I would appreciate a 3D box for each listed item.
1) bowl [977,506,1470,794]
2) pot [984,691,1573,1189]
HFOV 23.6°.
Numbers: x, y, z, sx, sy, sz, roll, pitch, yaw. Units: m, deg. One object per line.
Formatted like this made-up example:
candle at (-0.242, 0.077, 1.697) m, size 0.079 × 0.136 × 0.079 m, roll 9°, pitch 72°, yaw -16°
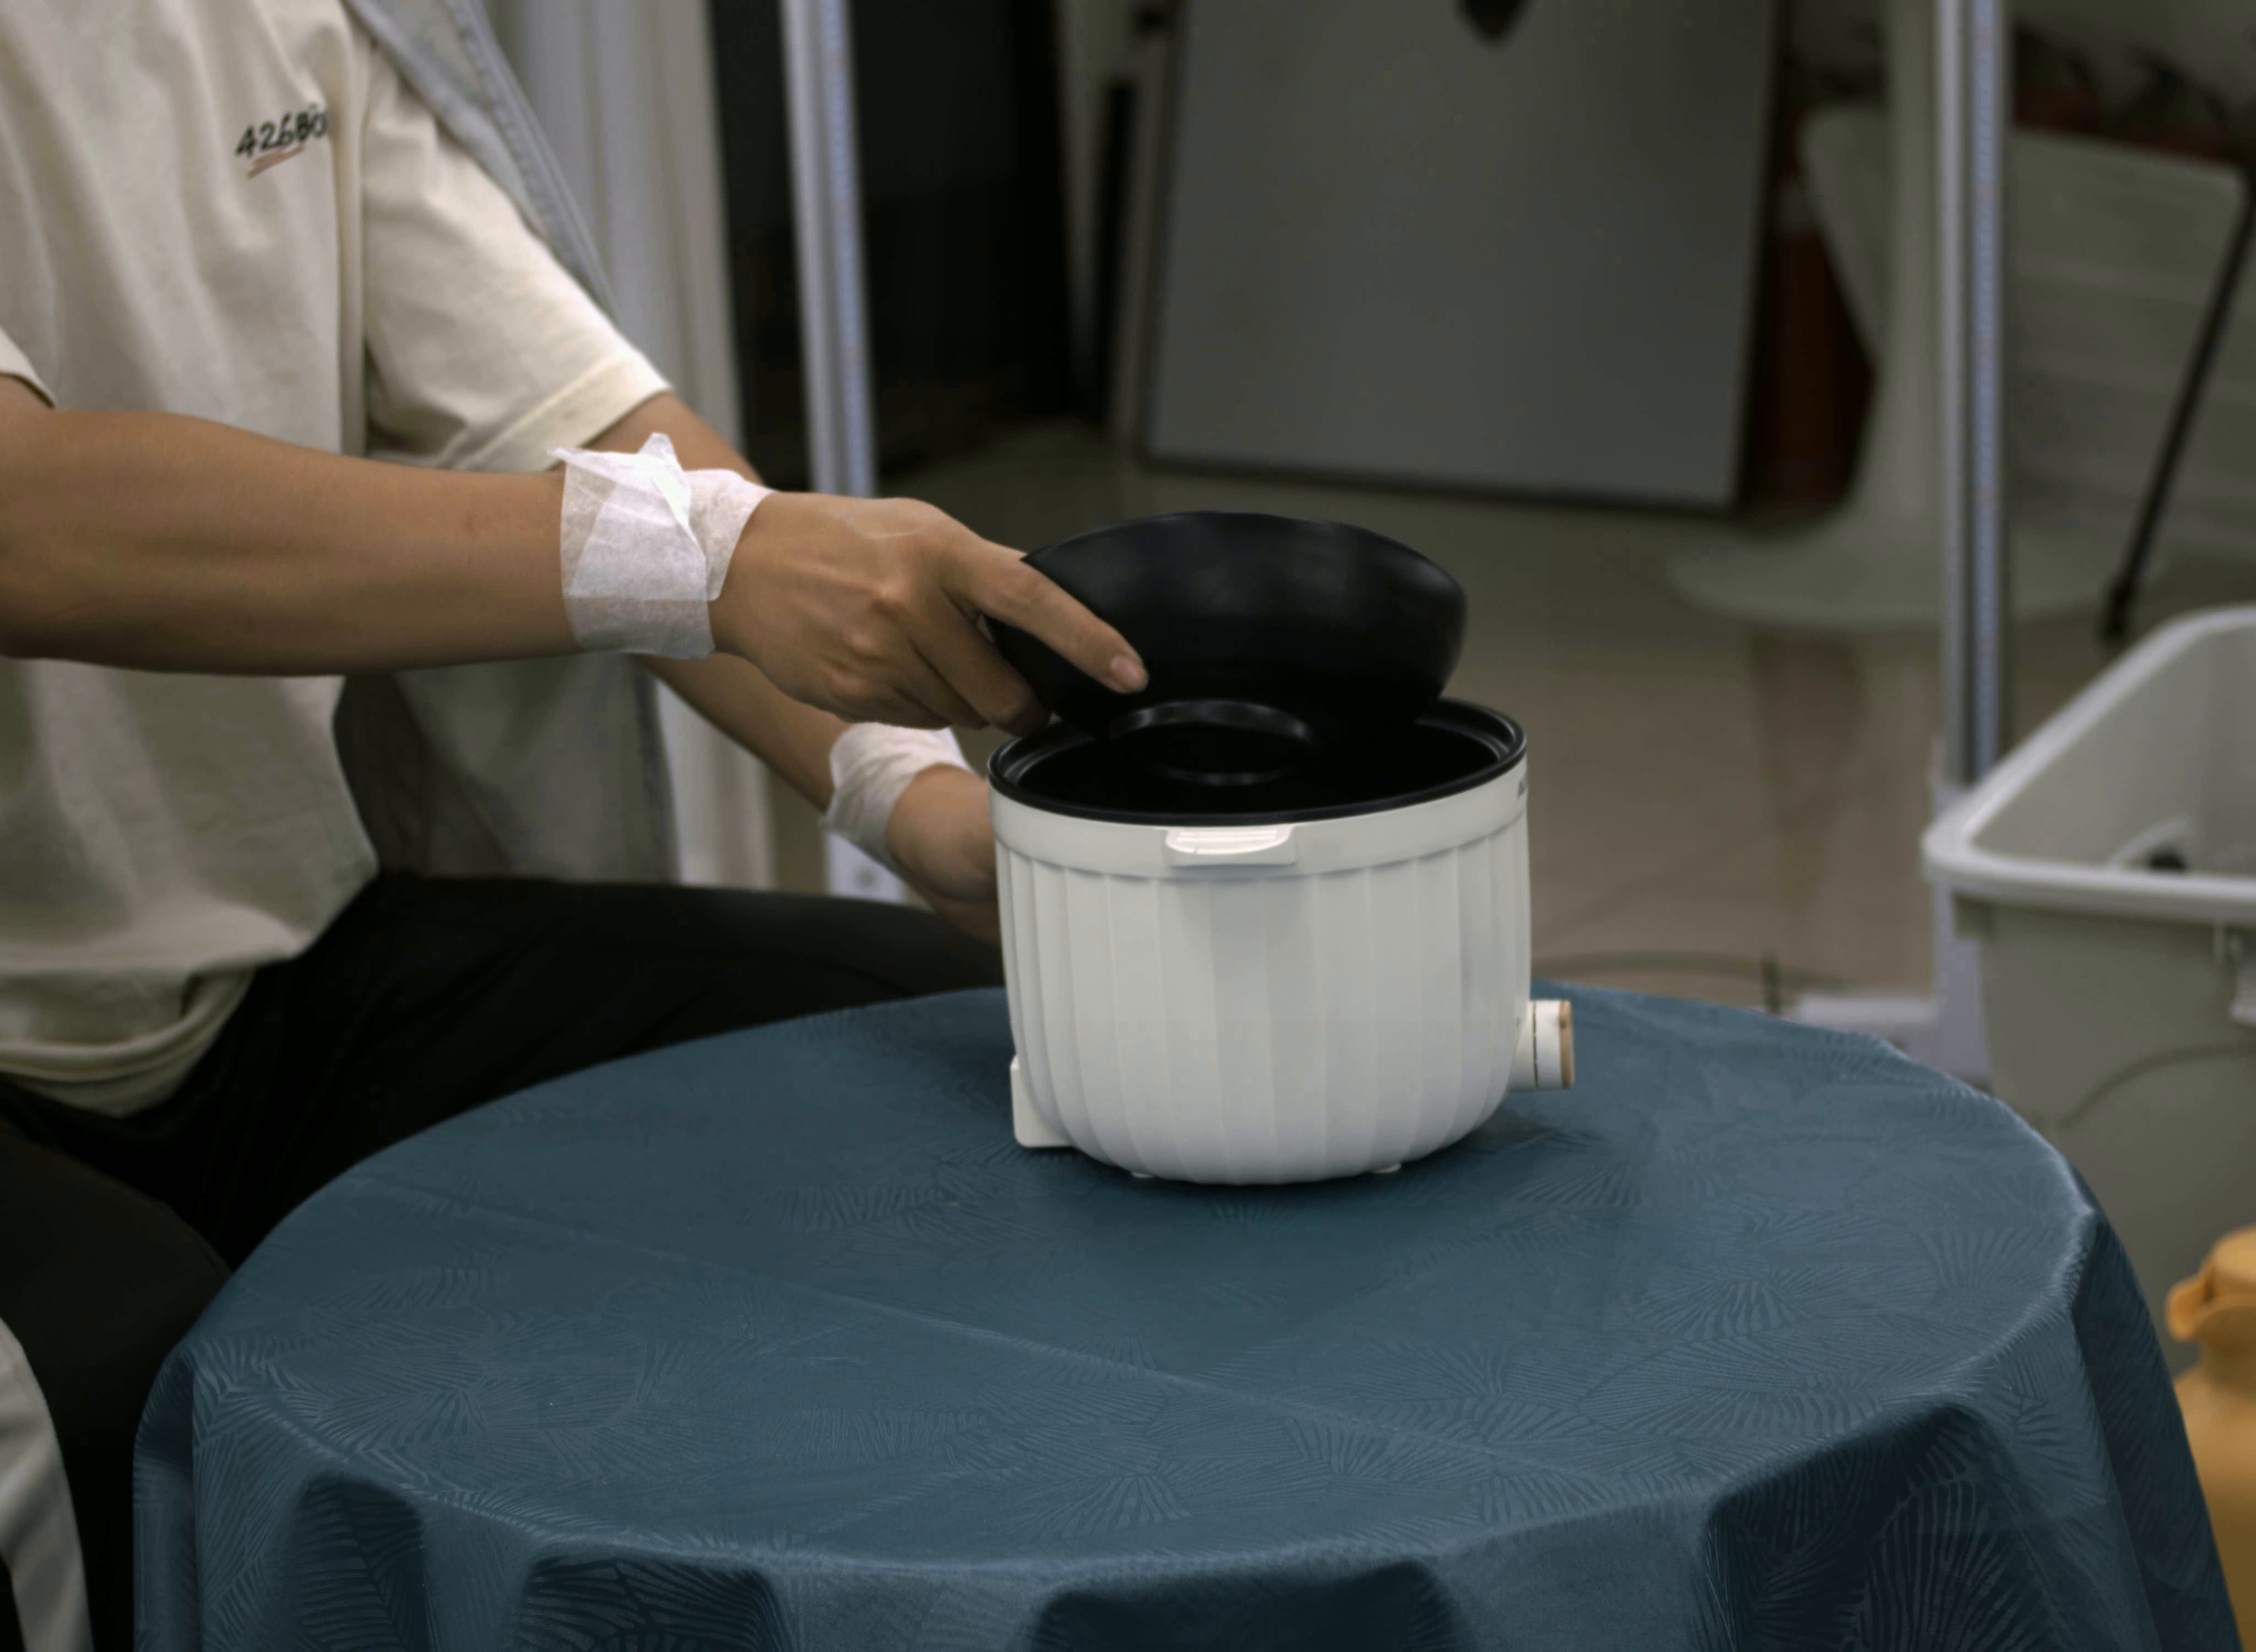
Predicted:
bowl at (0.032, -0.052, 1.783) m, size 0.167 × 0.067 × 0.138 m, roll 11°, pitch -22°, yaw -20°
pot at (0.052, 0.038, 1.808) m, size 0.189 × 0.144 × 0.240 m, roll -5°, pitch 14°, yaw 8°
